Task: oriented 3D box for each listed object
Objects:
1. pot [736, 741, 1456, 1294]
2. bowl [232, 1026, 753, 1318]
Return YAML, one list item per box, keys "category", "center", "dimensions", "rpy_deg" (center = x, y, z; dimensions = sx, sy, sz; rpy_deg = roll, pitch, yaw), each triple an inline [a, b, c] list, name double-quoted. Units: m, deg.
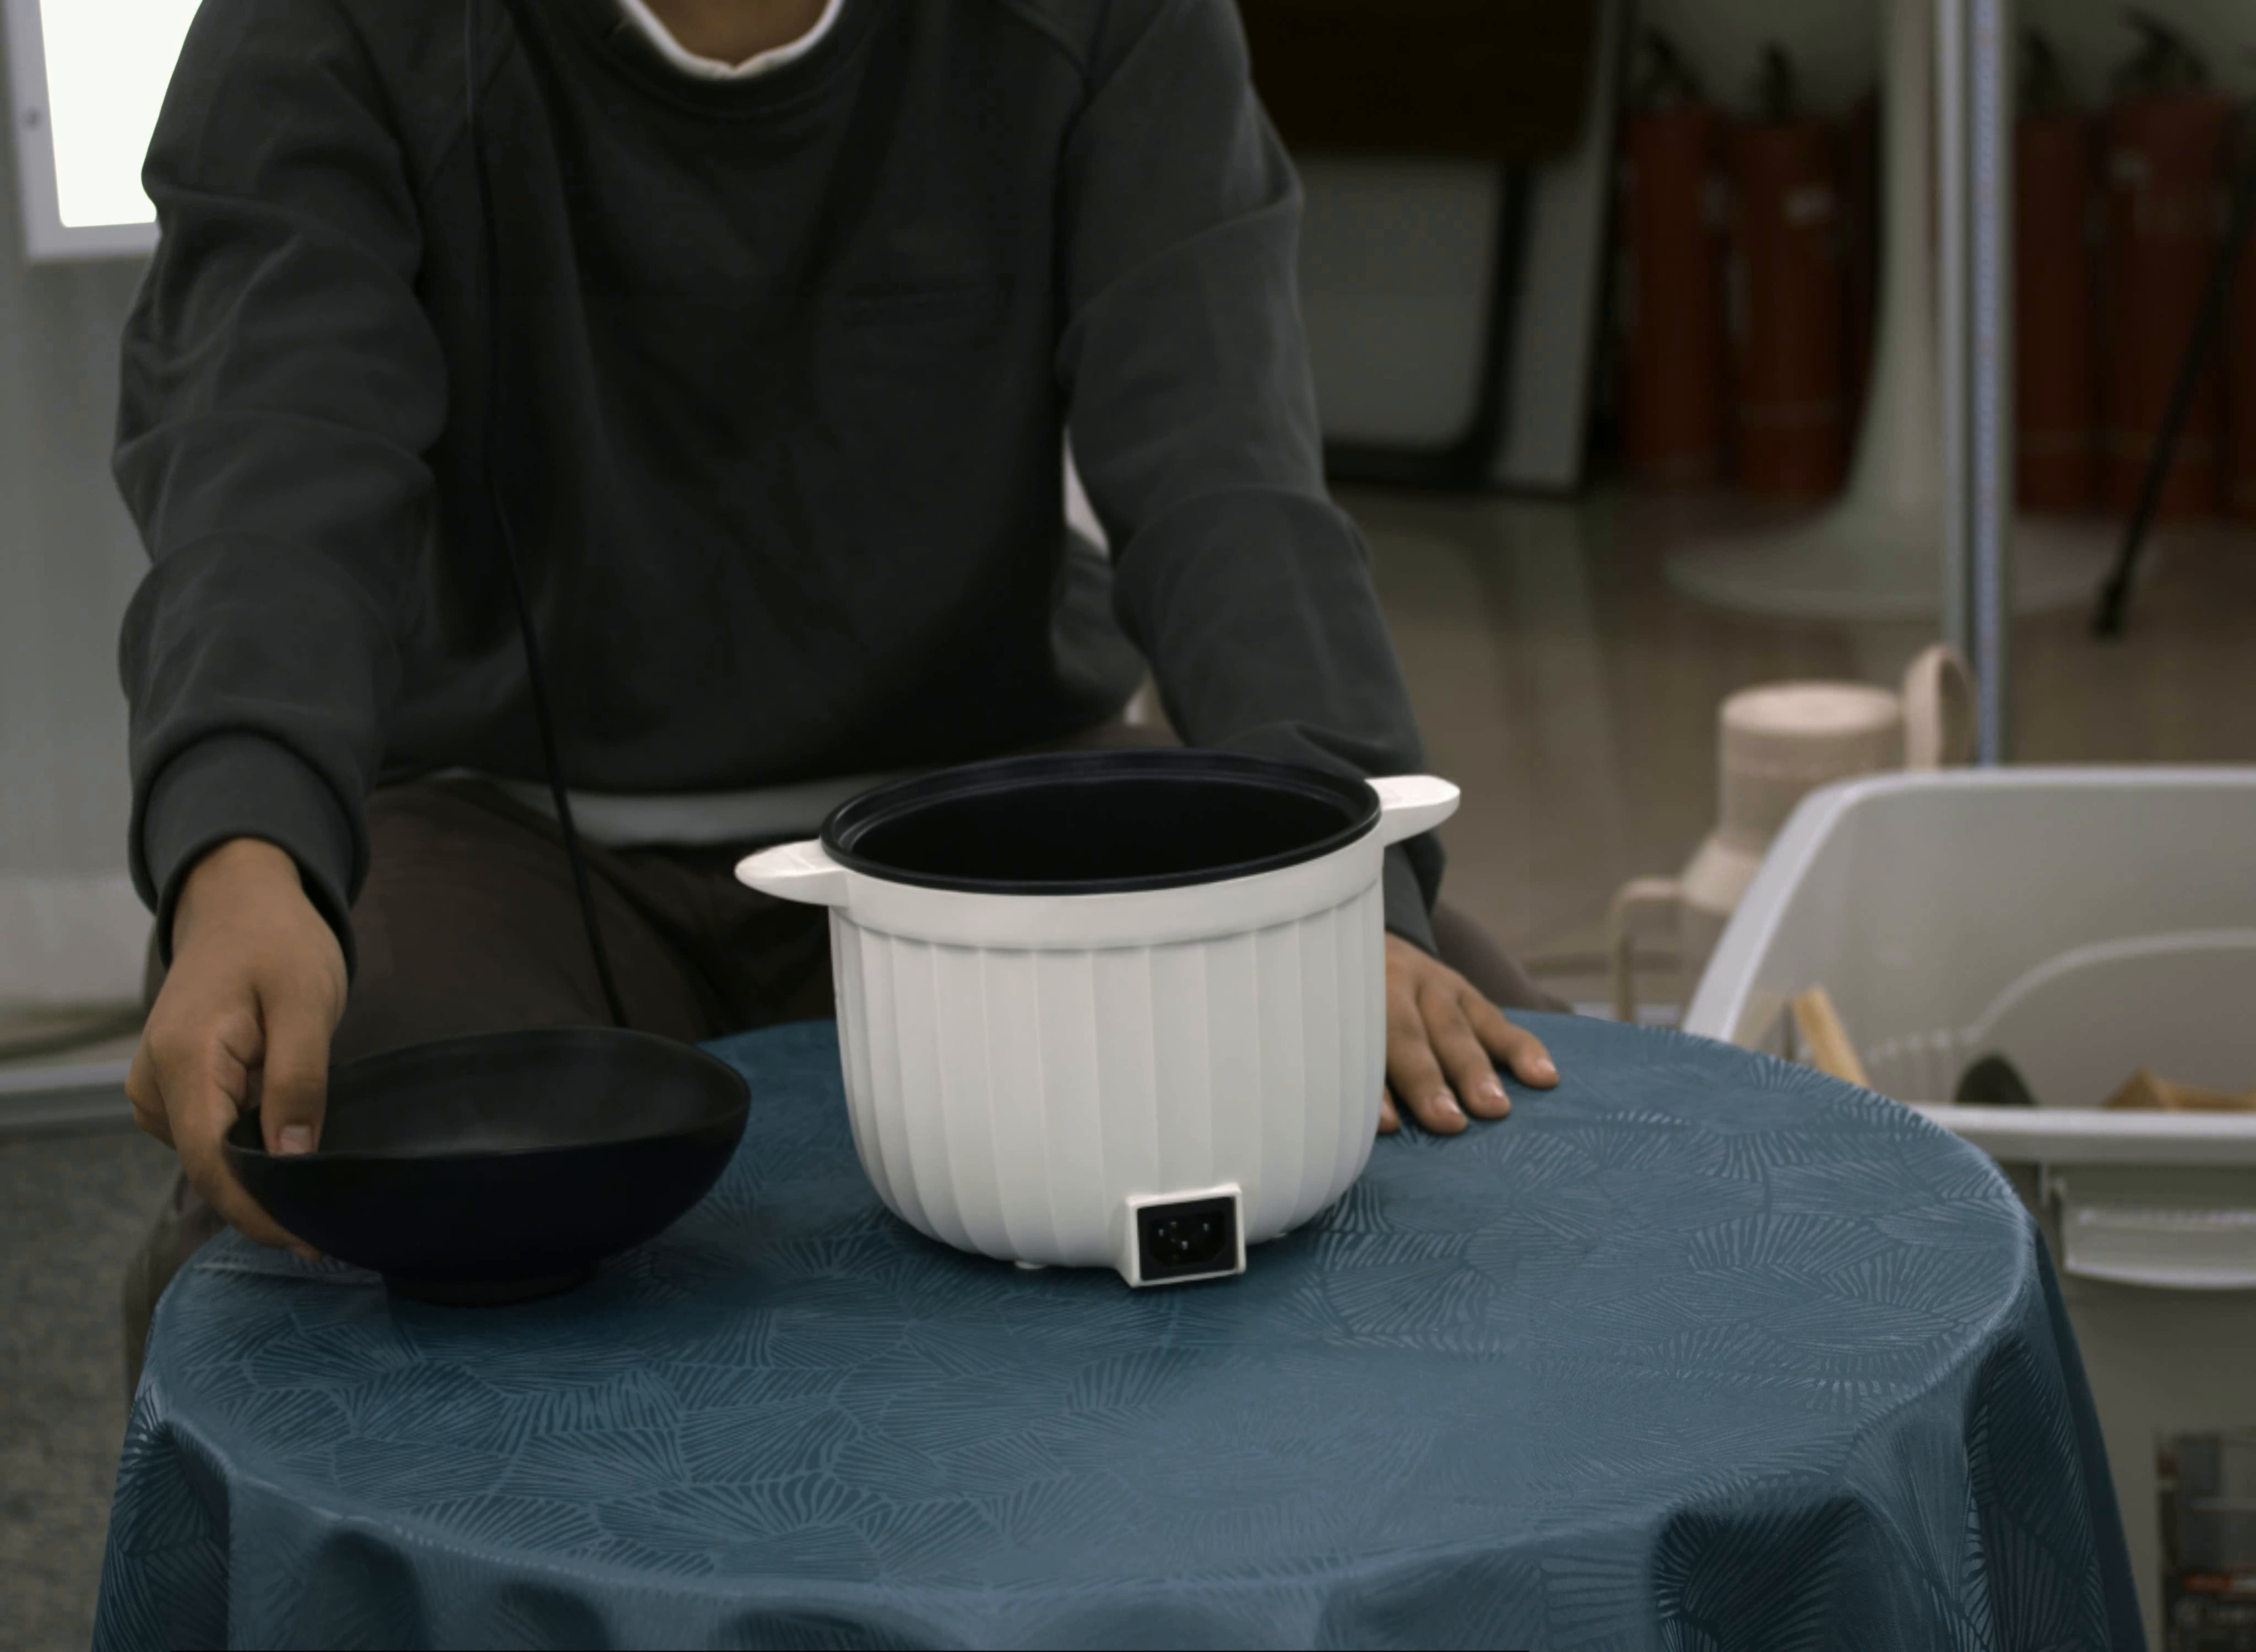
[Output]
- category: "pot"
  center: [-0.008, 0.059, 1.740]
  dimensions: [0.236, 0.144, 0.192]
  rpy_deg: [-6, 17, -13]
- category: "bowl"
  center: [-0.200, 0.115, 1.720]
  dimensions: [0.168, 0.067, 0.137]
  rpy_deg: [-4, 14, 5]
